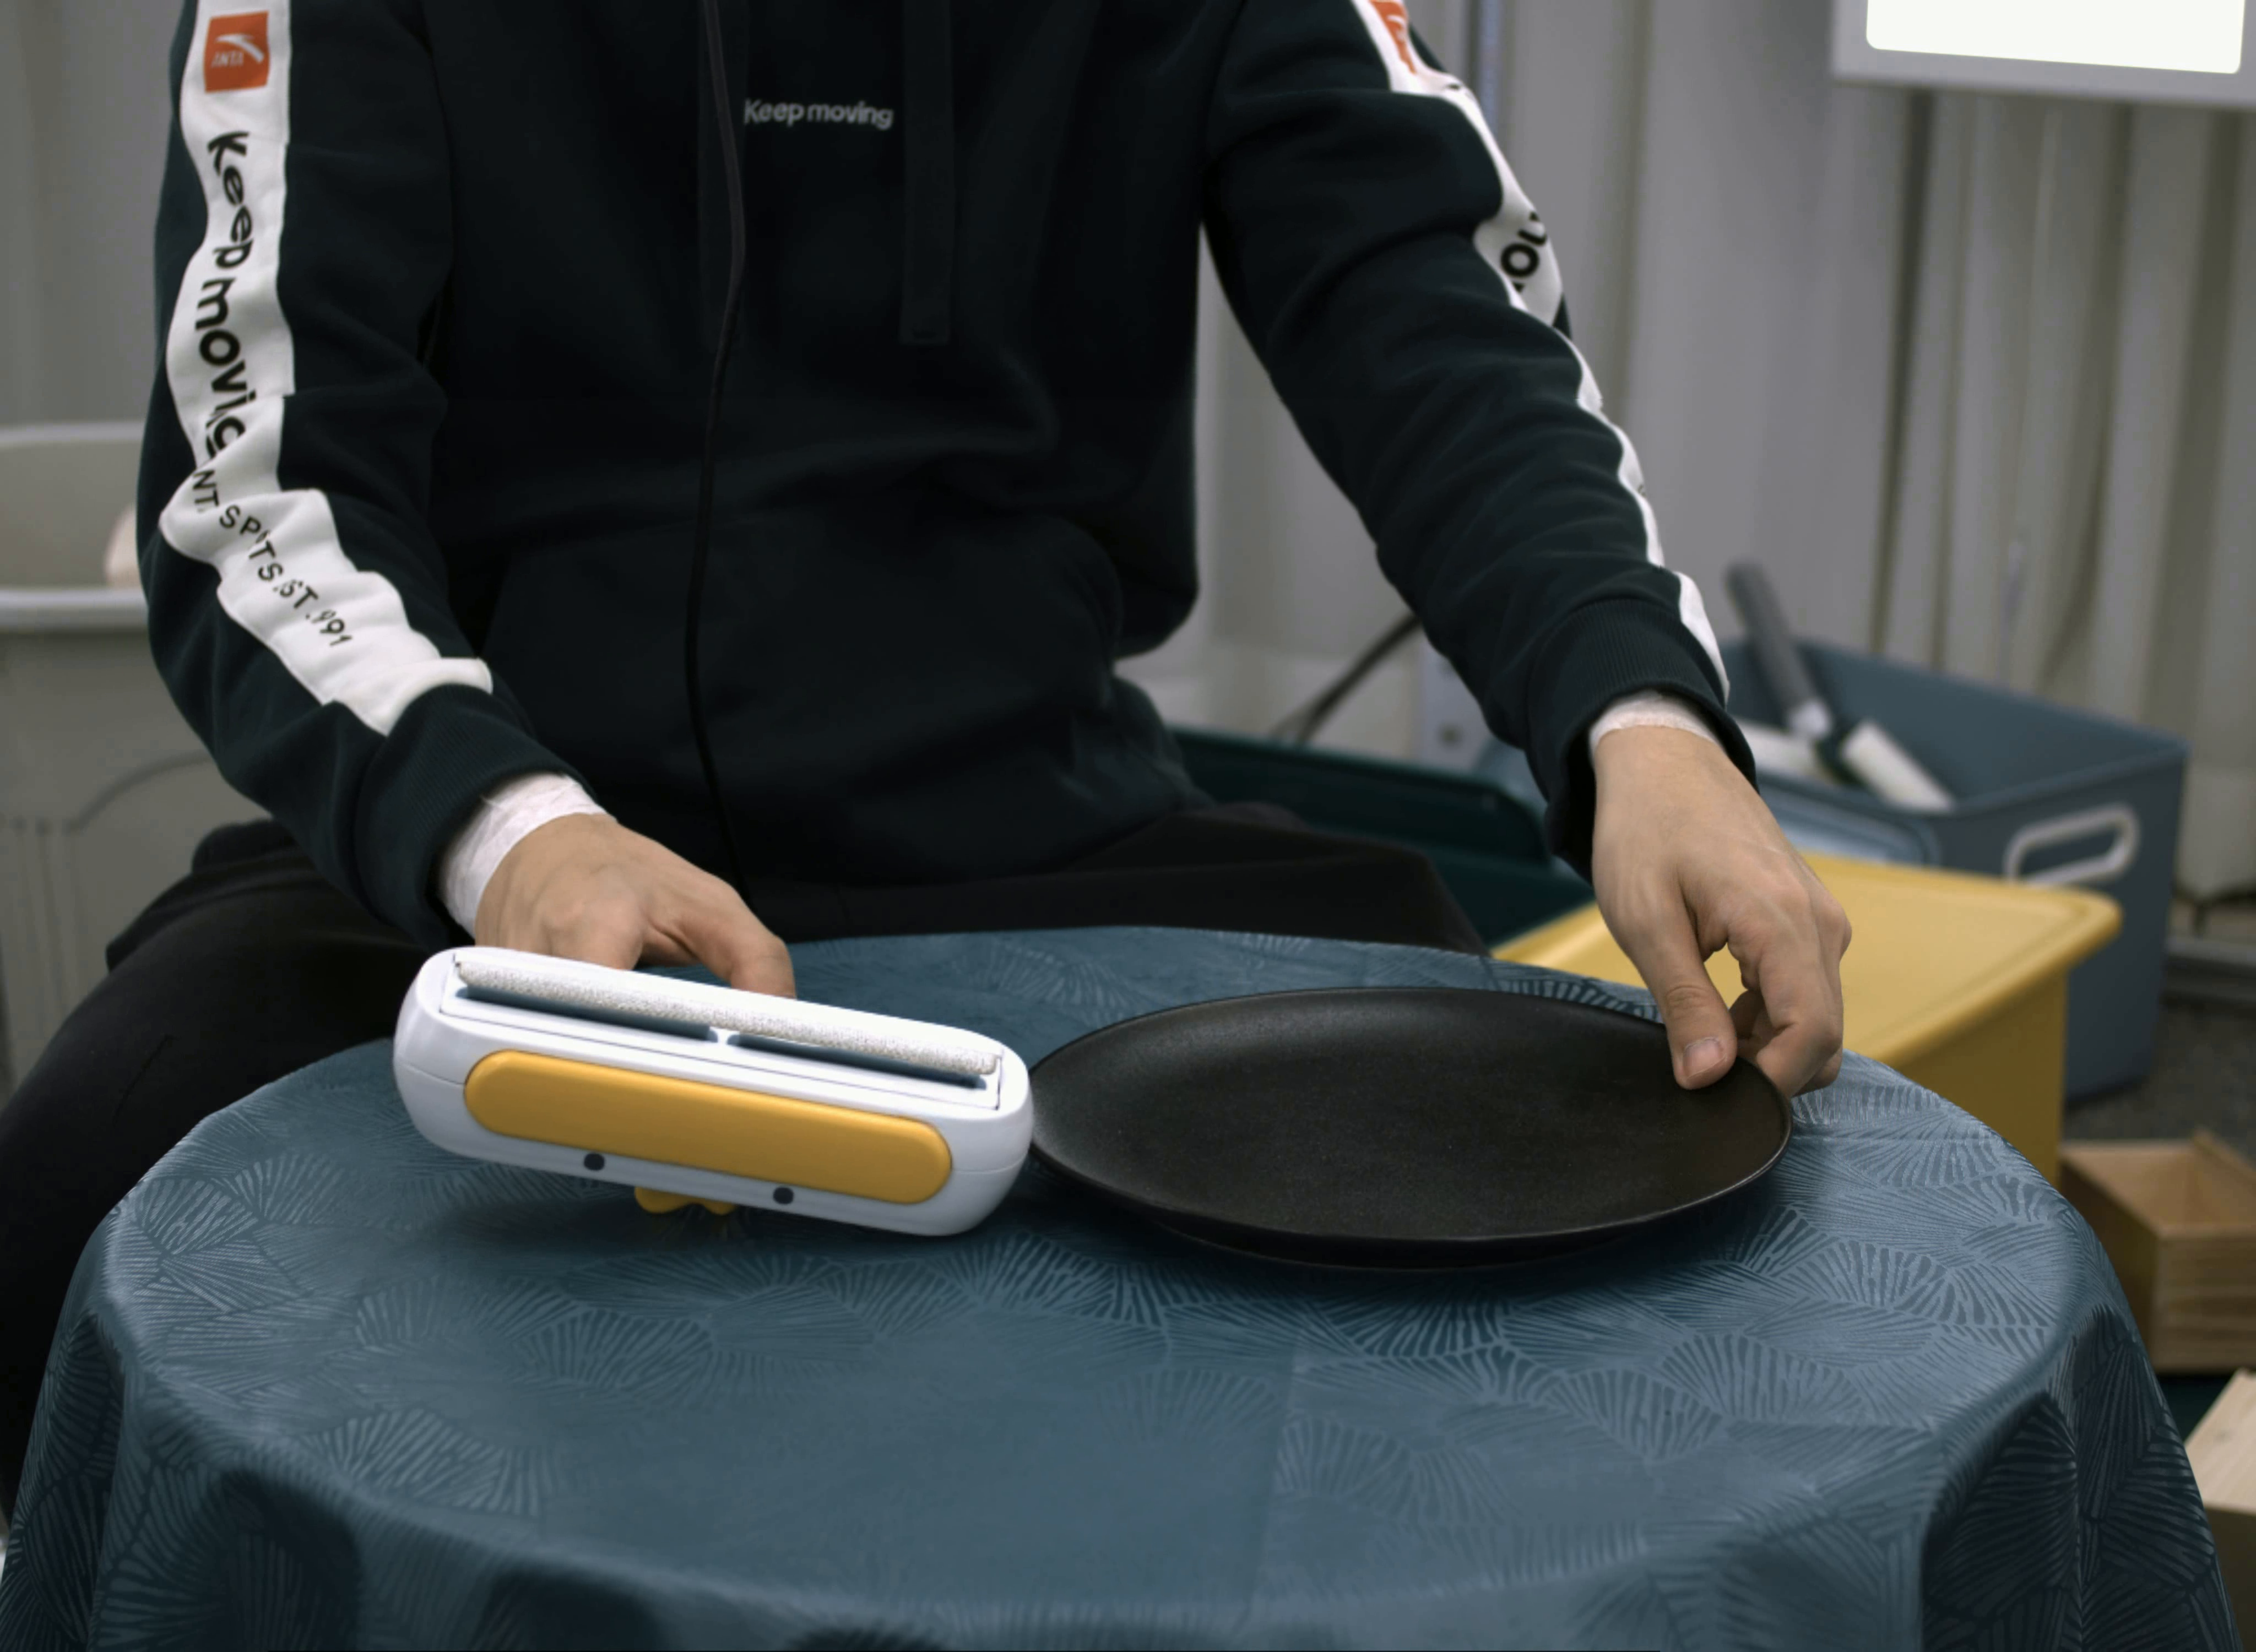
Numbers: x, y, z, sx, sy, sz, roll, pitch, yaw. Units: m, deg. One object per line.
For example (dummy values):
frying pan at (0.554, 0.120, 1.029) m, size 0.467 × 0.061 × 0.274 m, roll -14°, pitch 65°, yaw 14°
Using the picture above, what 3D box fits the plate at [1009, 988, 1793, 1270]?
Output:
plate at (0.084, 0.096, 1.637) m, size 0.243 × 0.023 × 0.243 m, roll 0°, pitch 16°, yaw 0°

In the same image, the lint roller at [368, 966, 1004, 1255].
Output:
lint roller at (-0.132, 0.090, 1.638) m, size 0.192 × 0.074 × 0.192 m, roll 8°, pitch 2°, yaw 1°
